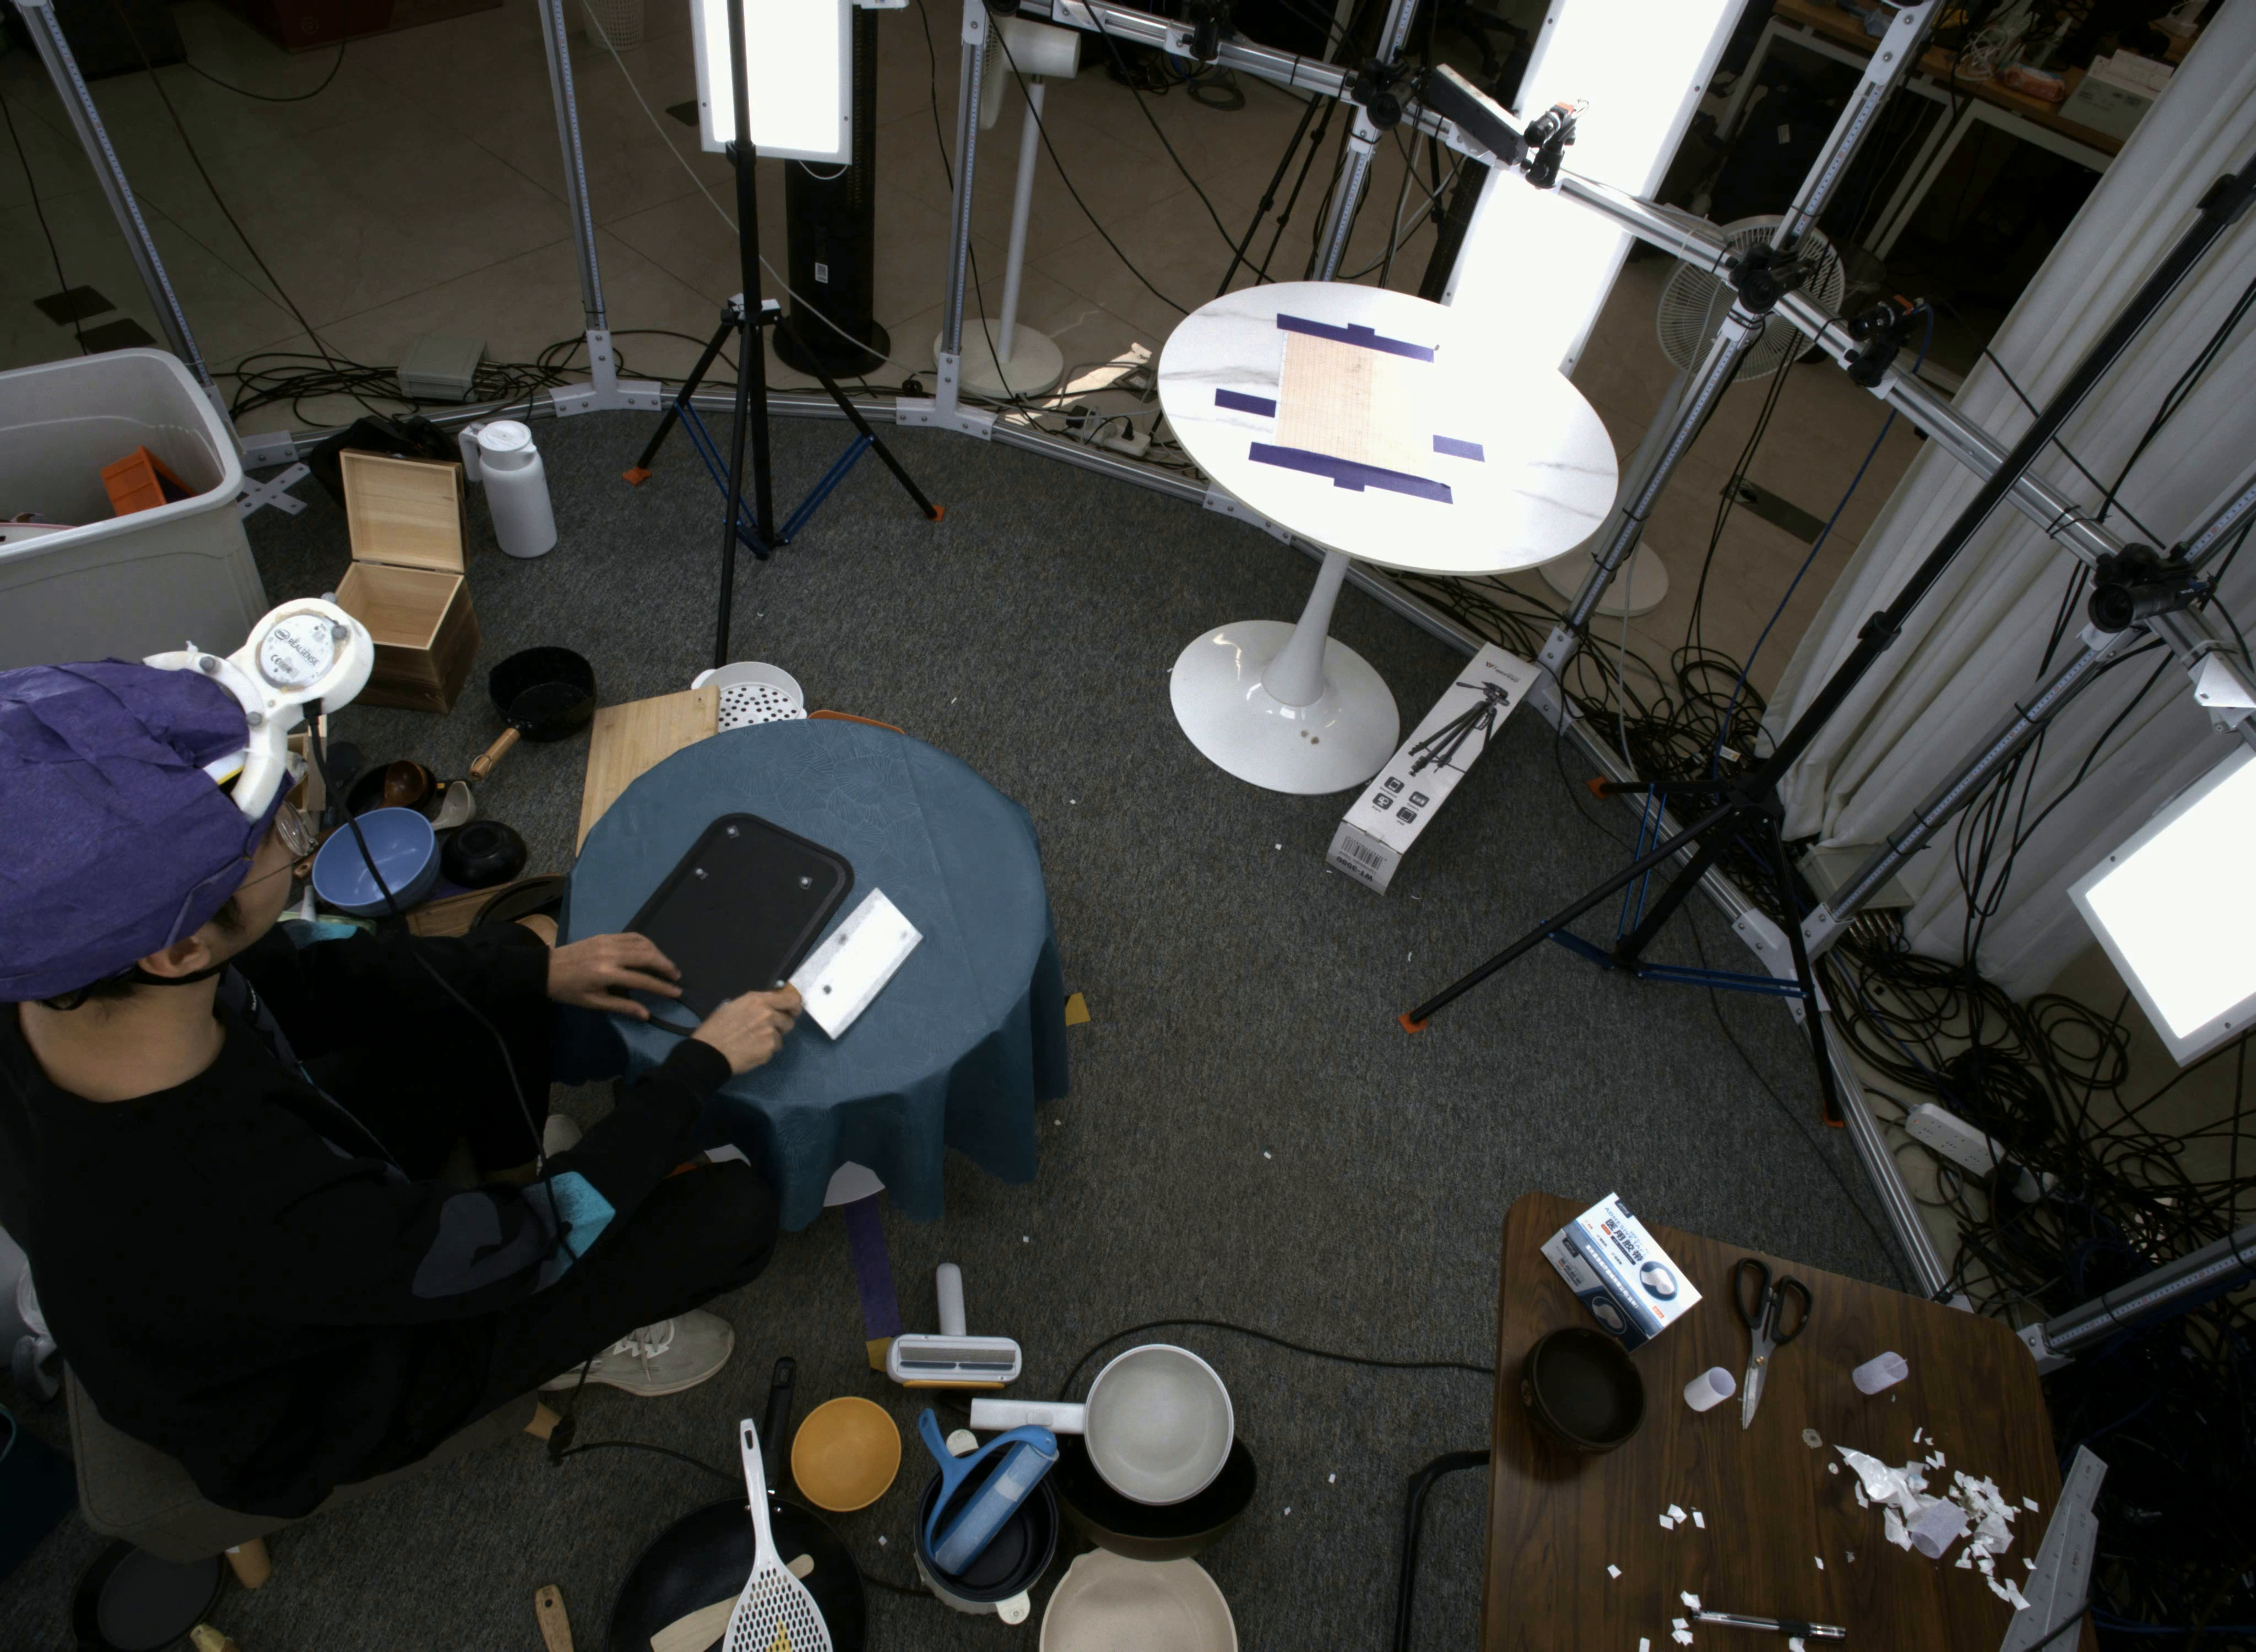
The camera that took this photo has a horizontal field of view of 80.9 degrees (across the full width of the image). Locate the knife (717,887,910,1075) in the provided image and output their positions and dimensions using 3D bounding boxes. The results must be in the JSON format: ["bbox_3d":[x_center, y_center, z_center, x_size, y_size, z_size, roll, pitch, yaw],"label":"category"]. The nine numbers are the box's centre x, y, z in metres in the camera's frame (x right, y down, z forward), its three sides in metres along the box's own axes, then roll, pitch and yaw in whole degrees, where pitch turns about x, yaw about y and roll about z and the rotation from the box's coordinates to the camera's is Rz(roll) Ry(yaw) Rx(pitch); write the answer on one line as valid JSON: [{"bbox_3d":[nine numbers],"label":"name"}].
[{"bbox_3d":[-0.361,0.193,1.538,0.095,0.020,0.304,53,46,-16],"label":"knife"}]

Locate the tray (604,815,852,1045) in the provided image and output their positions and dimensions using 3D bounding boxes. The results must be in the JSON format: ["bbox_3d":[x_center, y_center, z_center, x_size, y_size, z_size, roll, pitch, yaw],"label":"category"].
[{"bbox_3d":[-0.496,0.122,1.598,0.208,0.010,0.323,25,51,4],"label":"tray"}]
